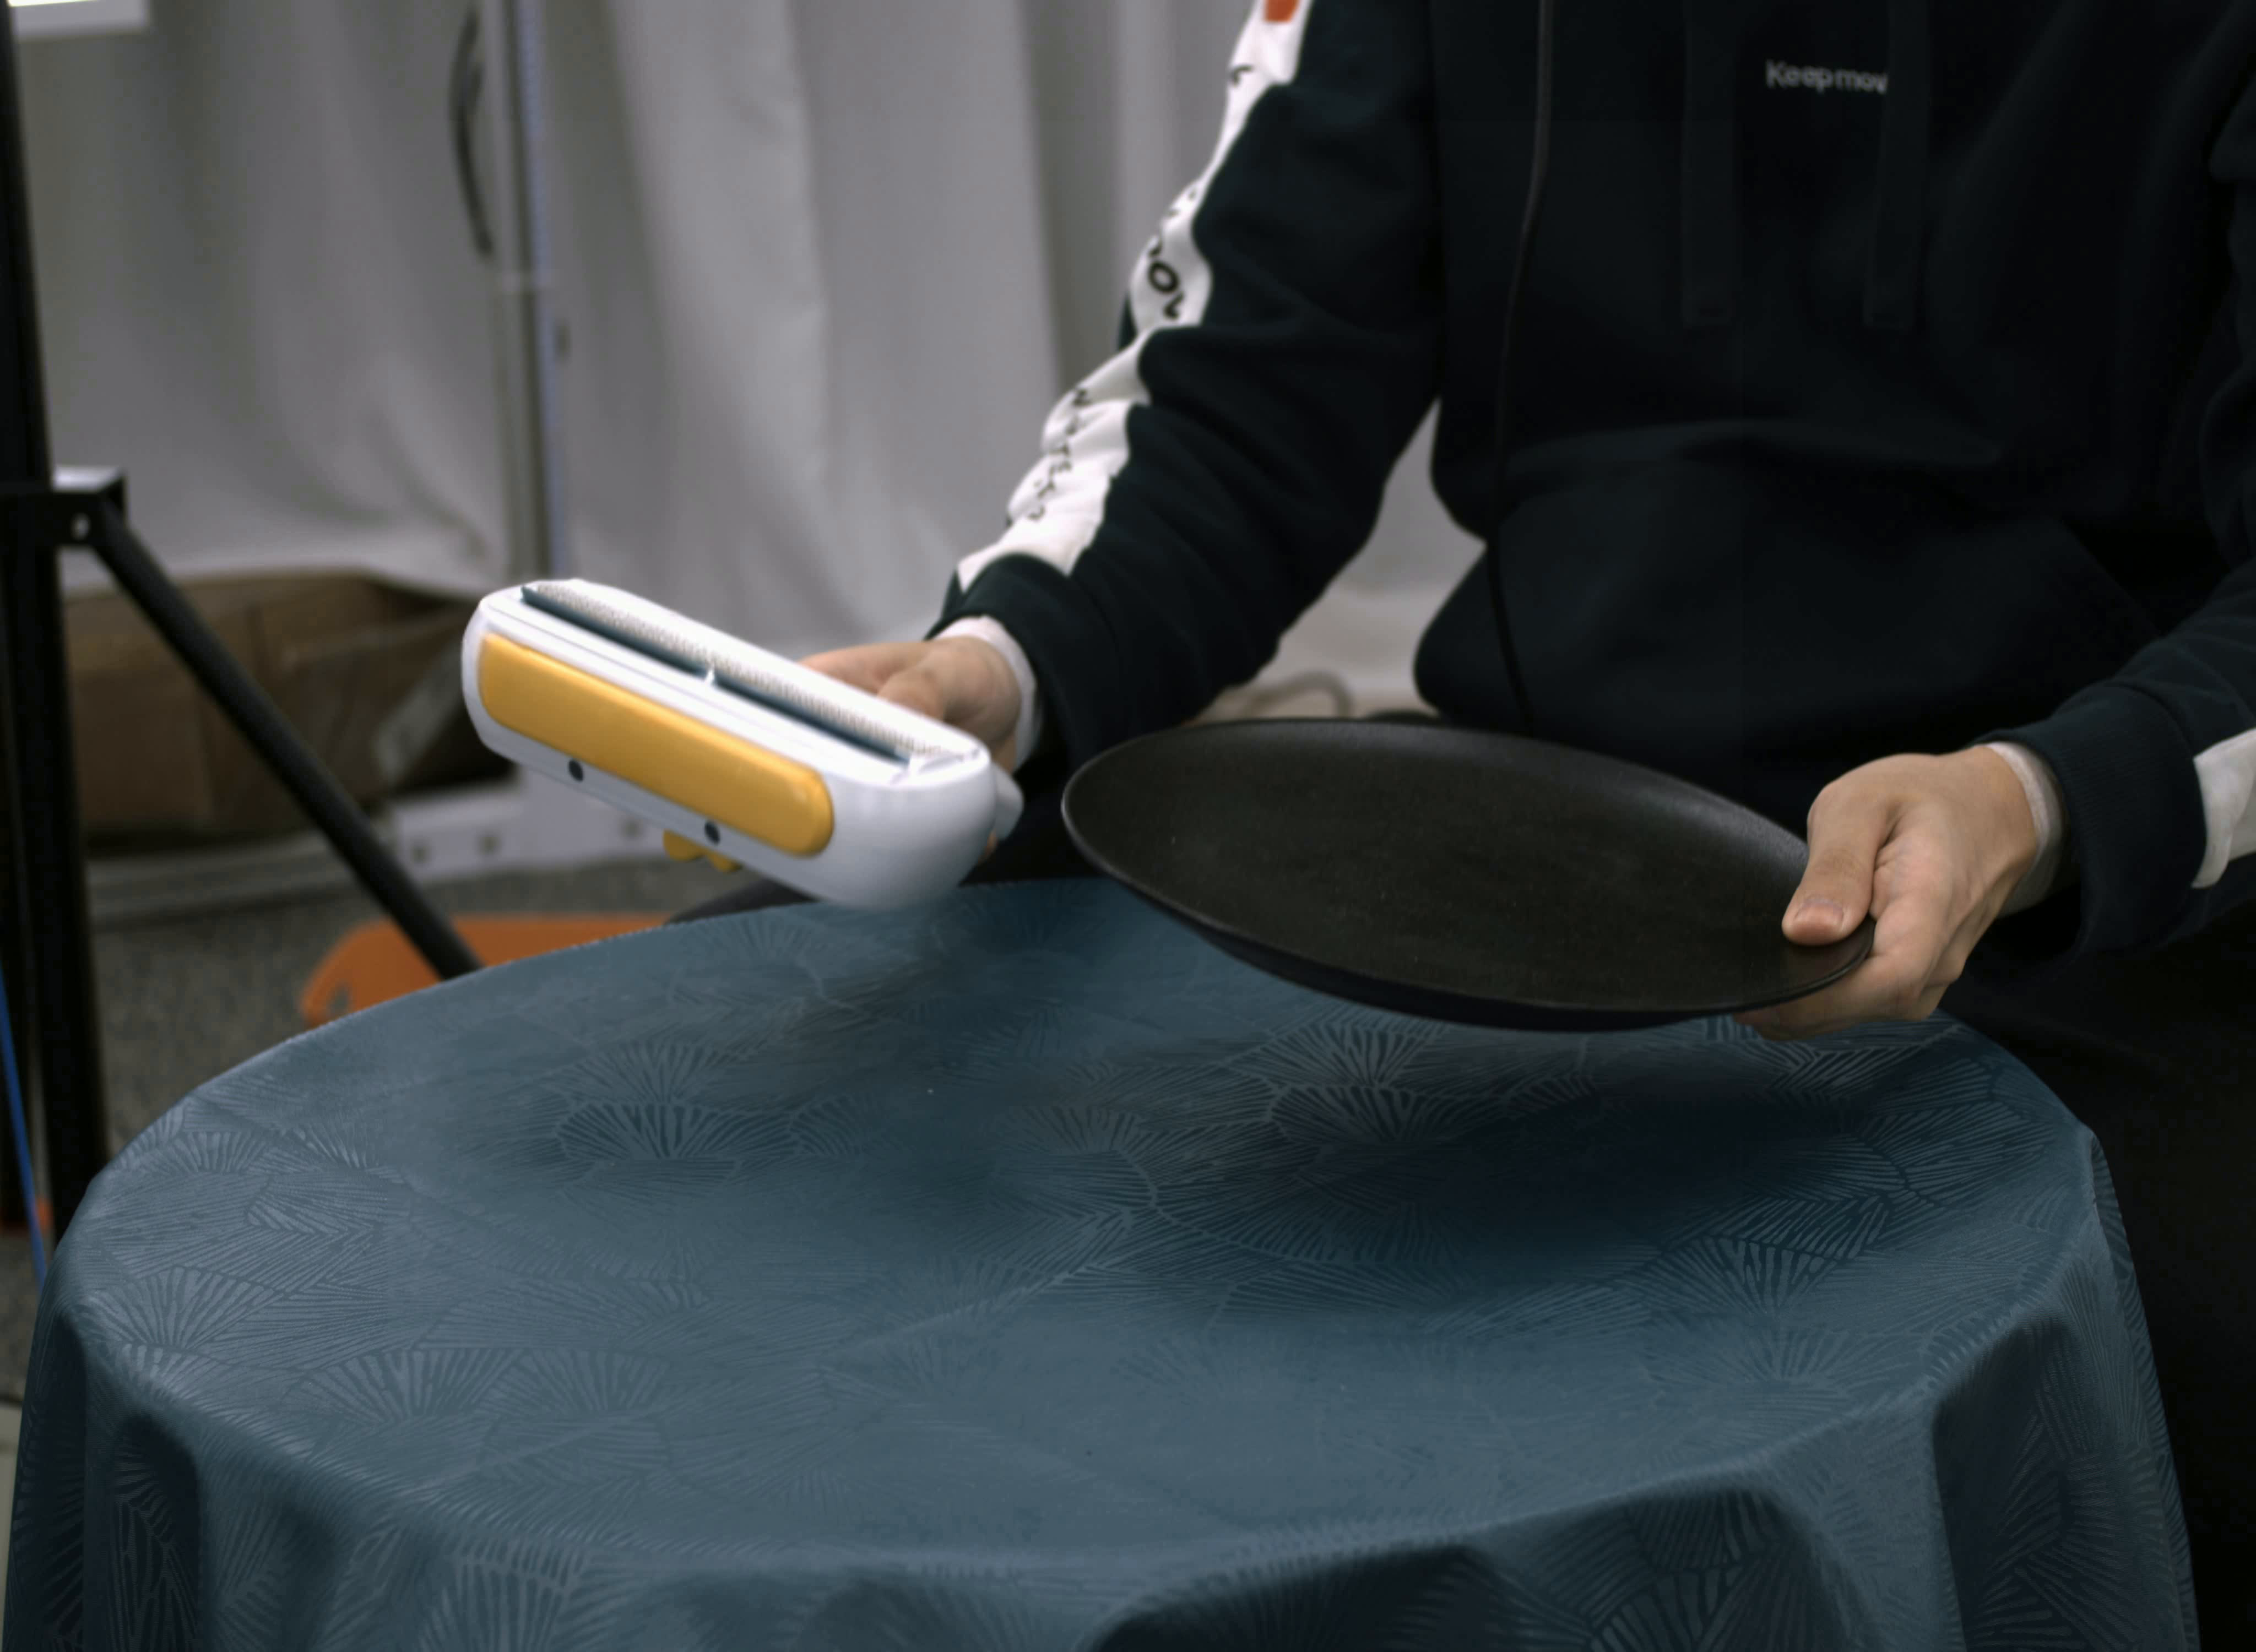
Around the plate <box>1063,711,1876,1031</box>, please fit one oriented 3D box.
[{"bbox_3d":[0.100,0.017,1.574,0.242,0.023,0.246,6,19,-3],"label":"plate"}]

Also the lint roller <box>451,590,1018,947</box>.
[{"bbox_3d":[-0.099,-0.007,1.697,0.197,0.074,0.187,20,2,40],"label":"lint roller"}]
